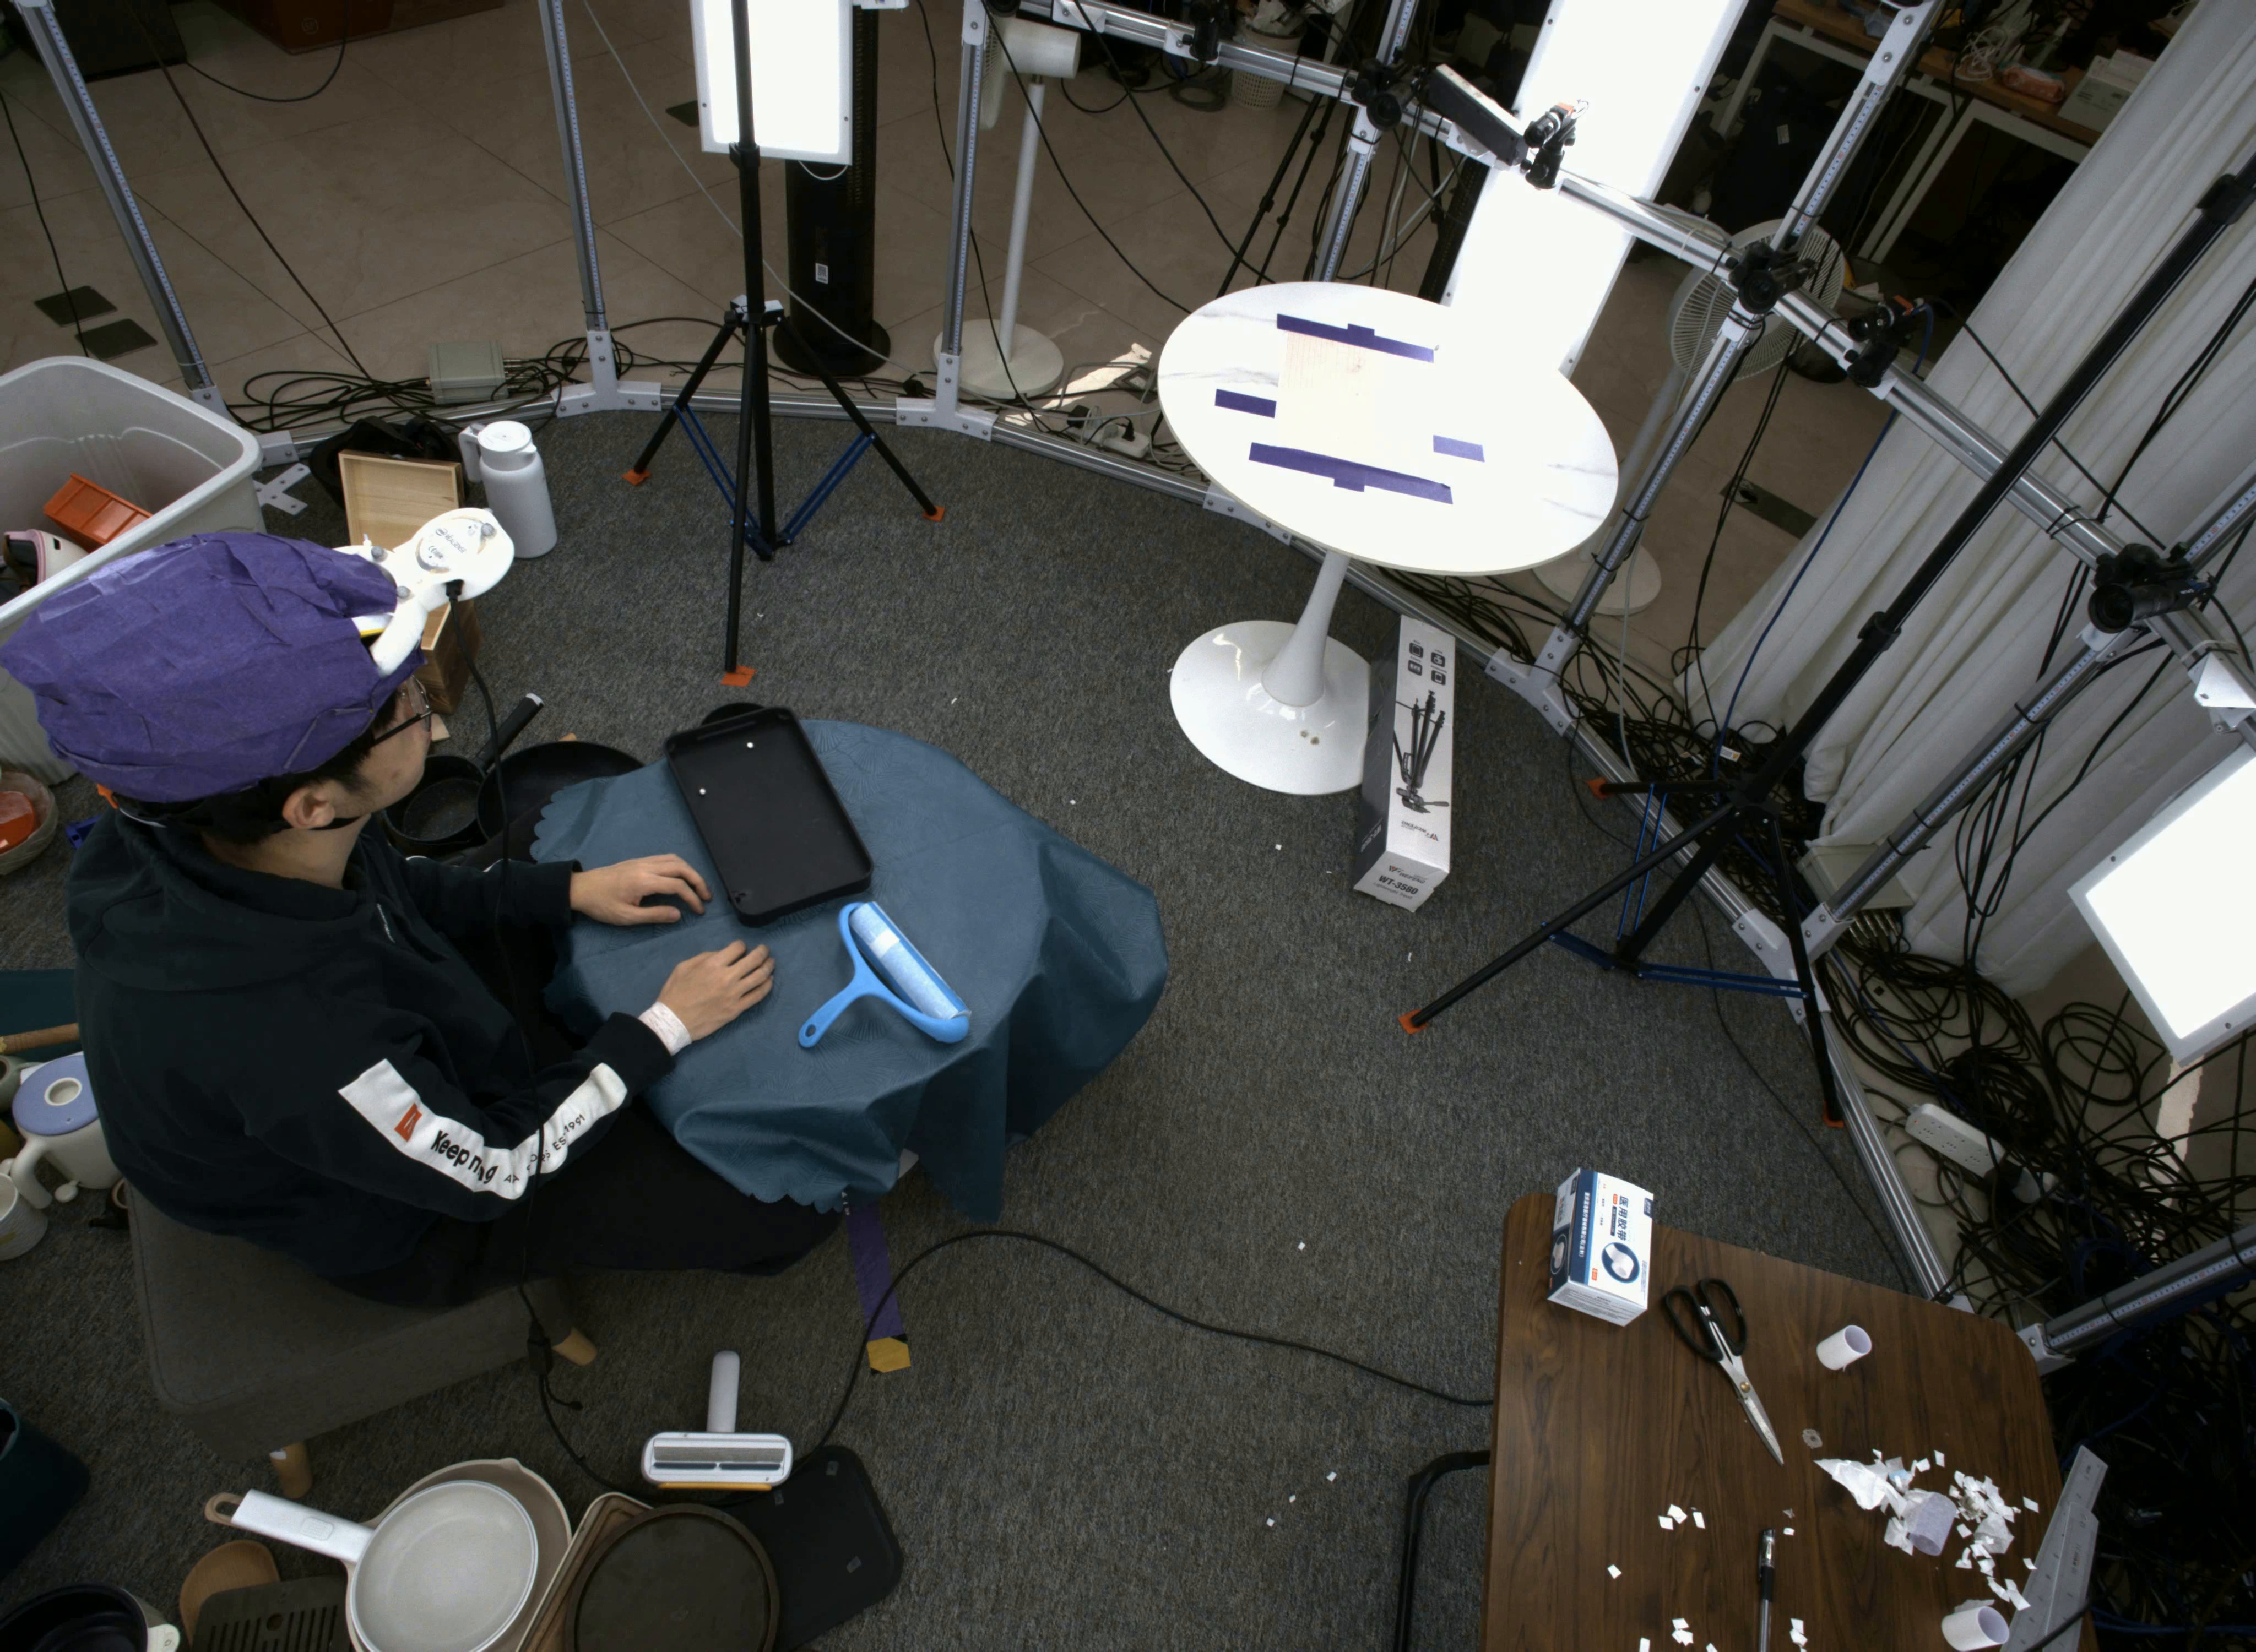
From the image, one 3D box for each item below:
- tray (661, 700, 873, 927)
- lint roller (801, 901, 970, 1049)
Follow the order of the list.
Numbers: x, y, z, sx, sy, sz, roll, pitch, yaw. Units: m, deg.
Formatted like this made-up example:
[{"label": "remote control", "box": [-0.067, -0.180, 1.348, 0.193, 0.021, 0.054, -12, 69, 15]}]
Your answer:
[{"label": "tray", "box": [-0.480, -0.023, 1.711, 0.185, 0.038, 0.310, -21, 64, -27]}, {"label": "lint roller", "box": [-0.316, 0.202, 1.572, 0.224, 0.069, 0.181, 44, 54, 16]}]
